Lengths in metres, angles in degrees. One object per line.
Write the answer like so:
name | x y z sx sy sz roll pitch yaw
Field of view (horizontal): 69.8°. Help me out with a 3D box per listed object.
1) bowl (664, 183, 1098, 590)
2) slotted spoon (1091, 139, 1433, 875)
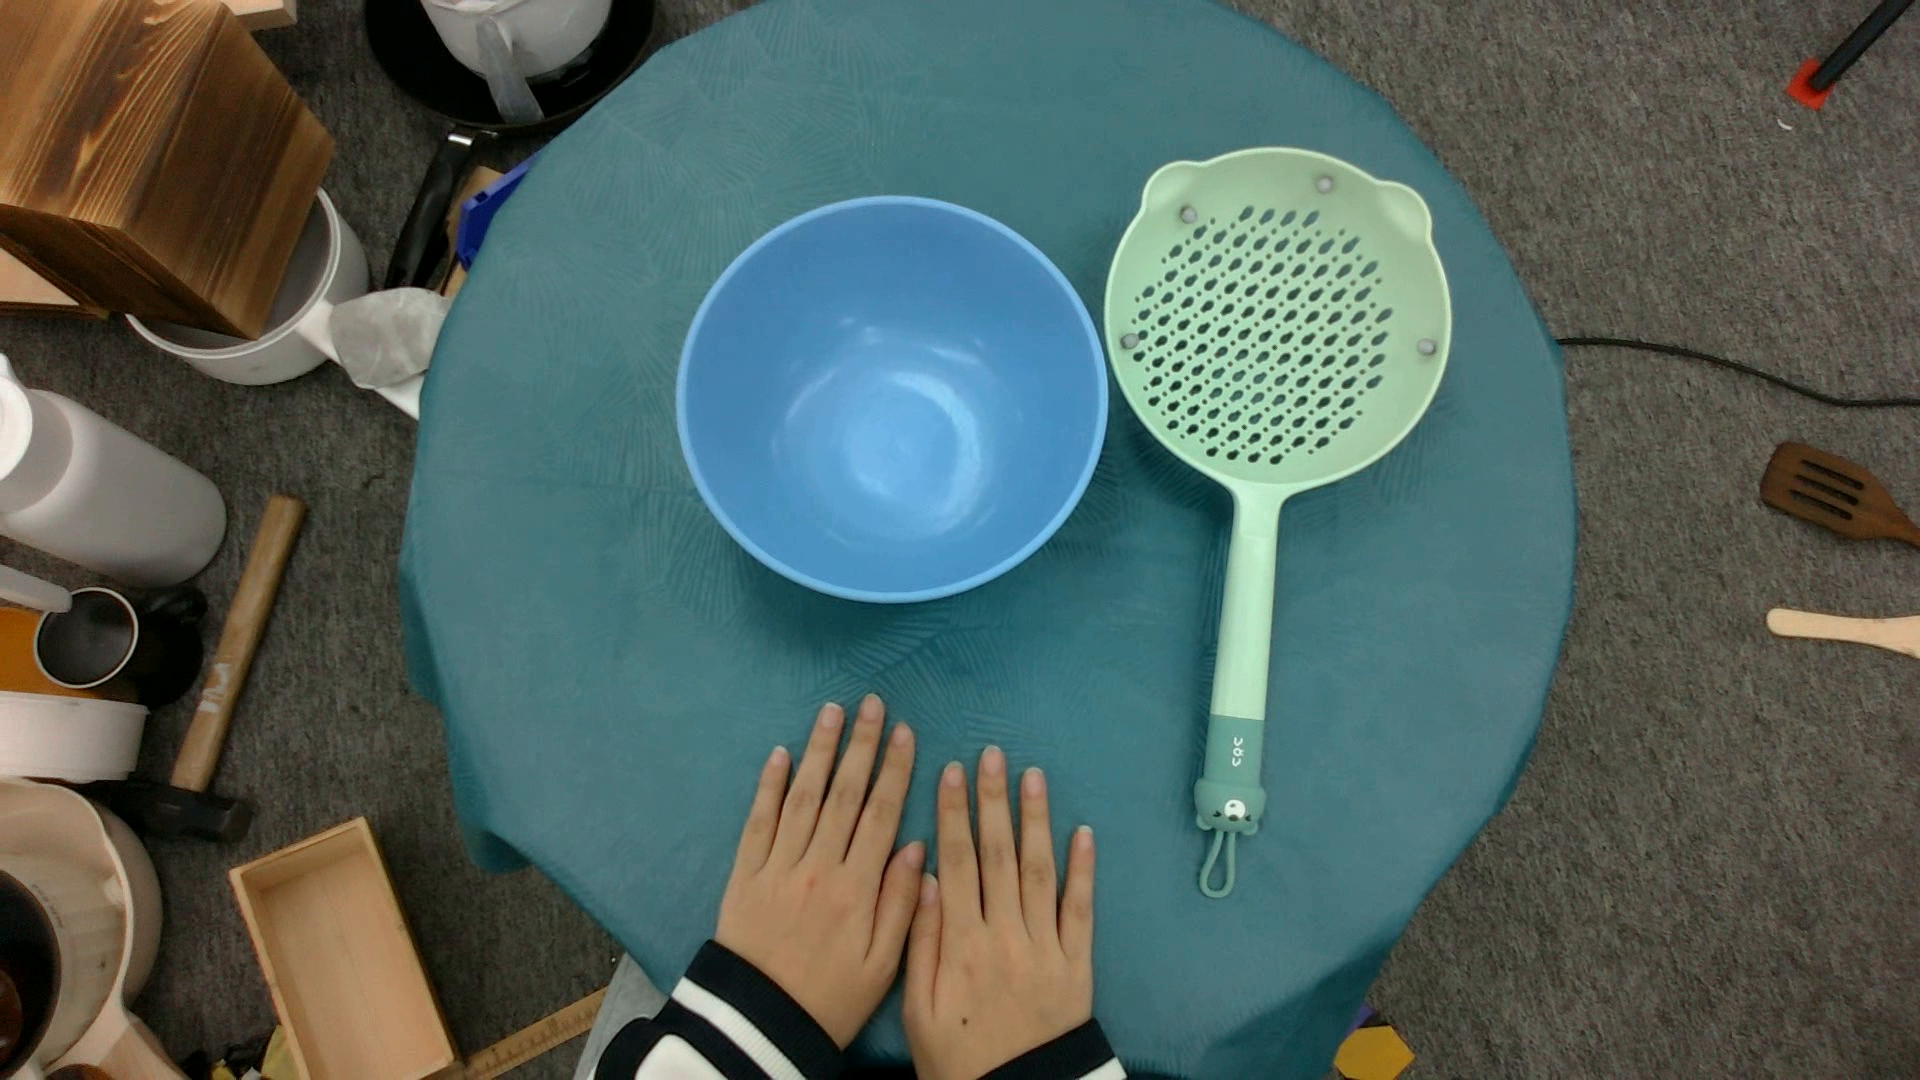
bowl | -0.036 -0.062 0.667 0.196 0.095 0.197 1 75 -2
slotted spoon | 0.137 -0.018 0.679 0.169 0.075 0.359 6 76 1
